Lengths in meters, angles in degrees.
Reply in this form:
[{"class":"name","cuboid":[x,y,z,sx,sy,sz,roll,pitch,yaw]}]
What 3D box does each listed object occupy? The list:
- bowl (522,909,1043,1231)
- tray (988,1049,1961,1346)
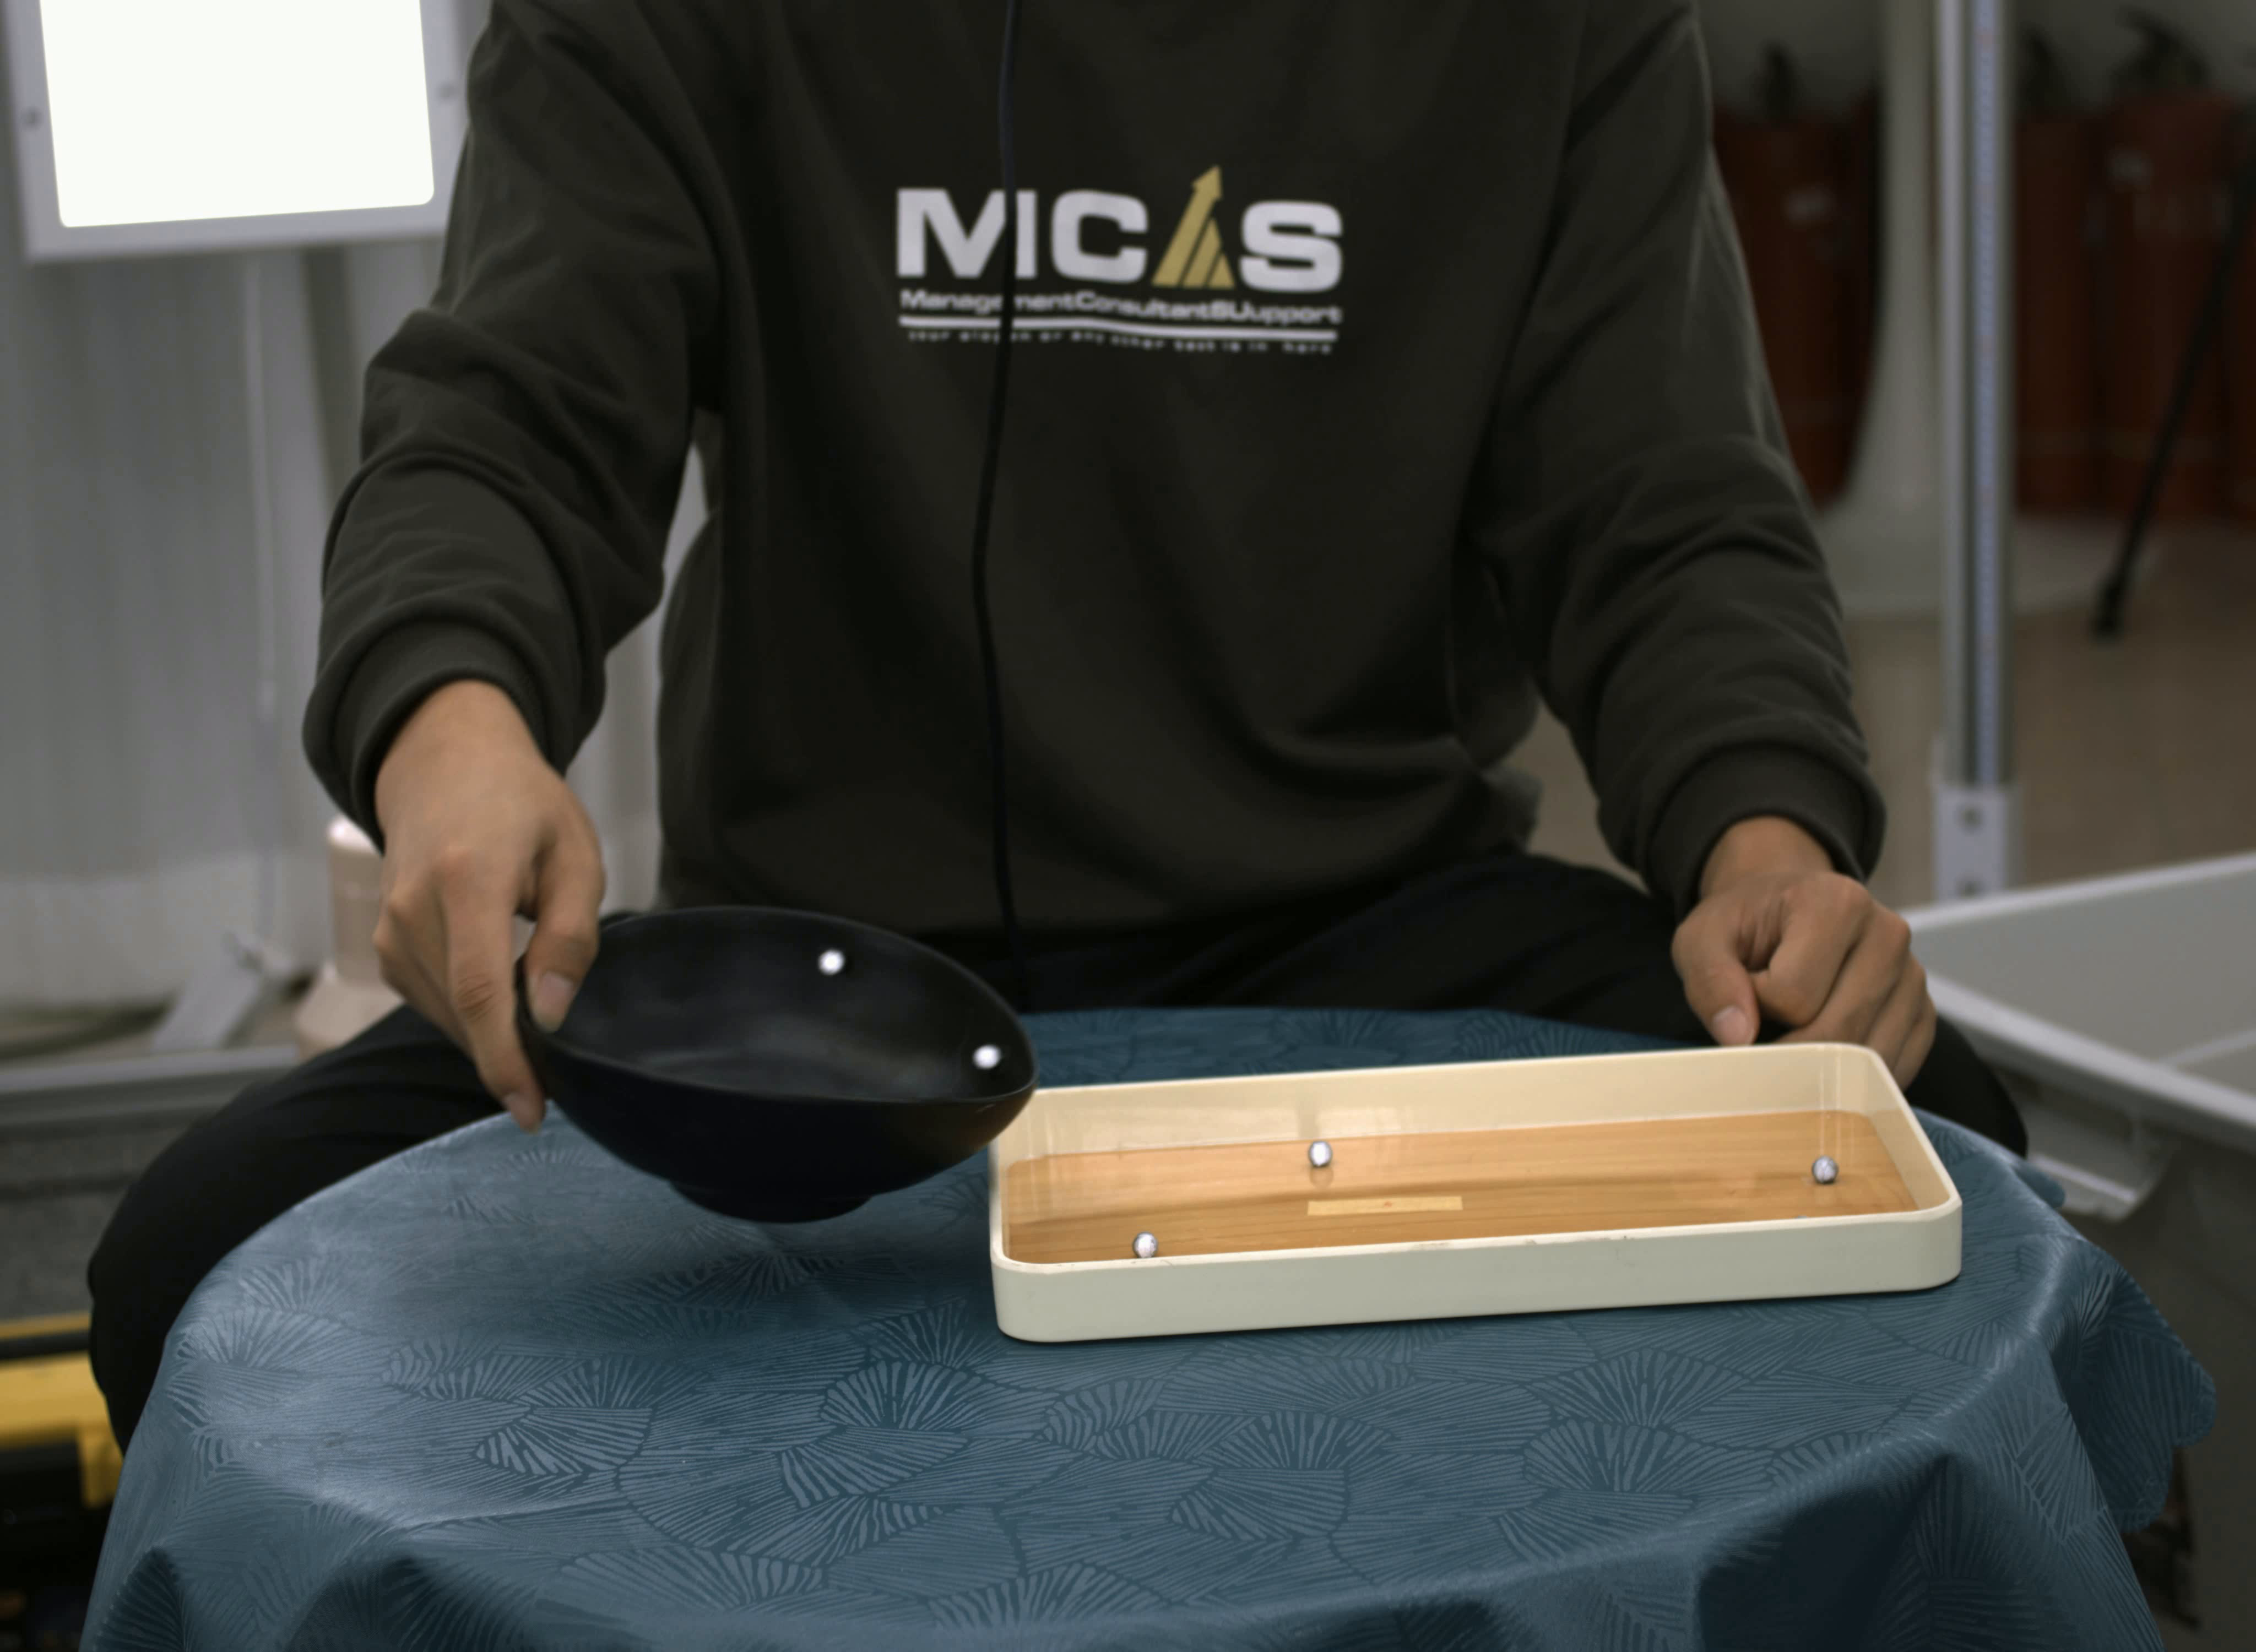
[{"class":"bowl","cuboid":[-0.111,0.084,1.717,0.168,0.067,0.137,9,24,4]},{"class":"tray","cuboid":[0.104,0.117,1.712,0.296,0.028,0.192,-4,13,0]}]
